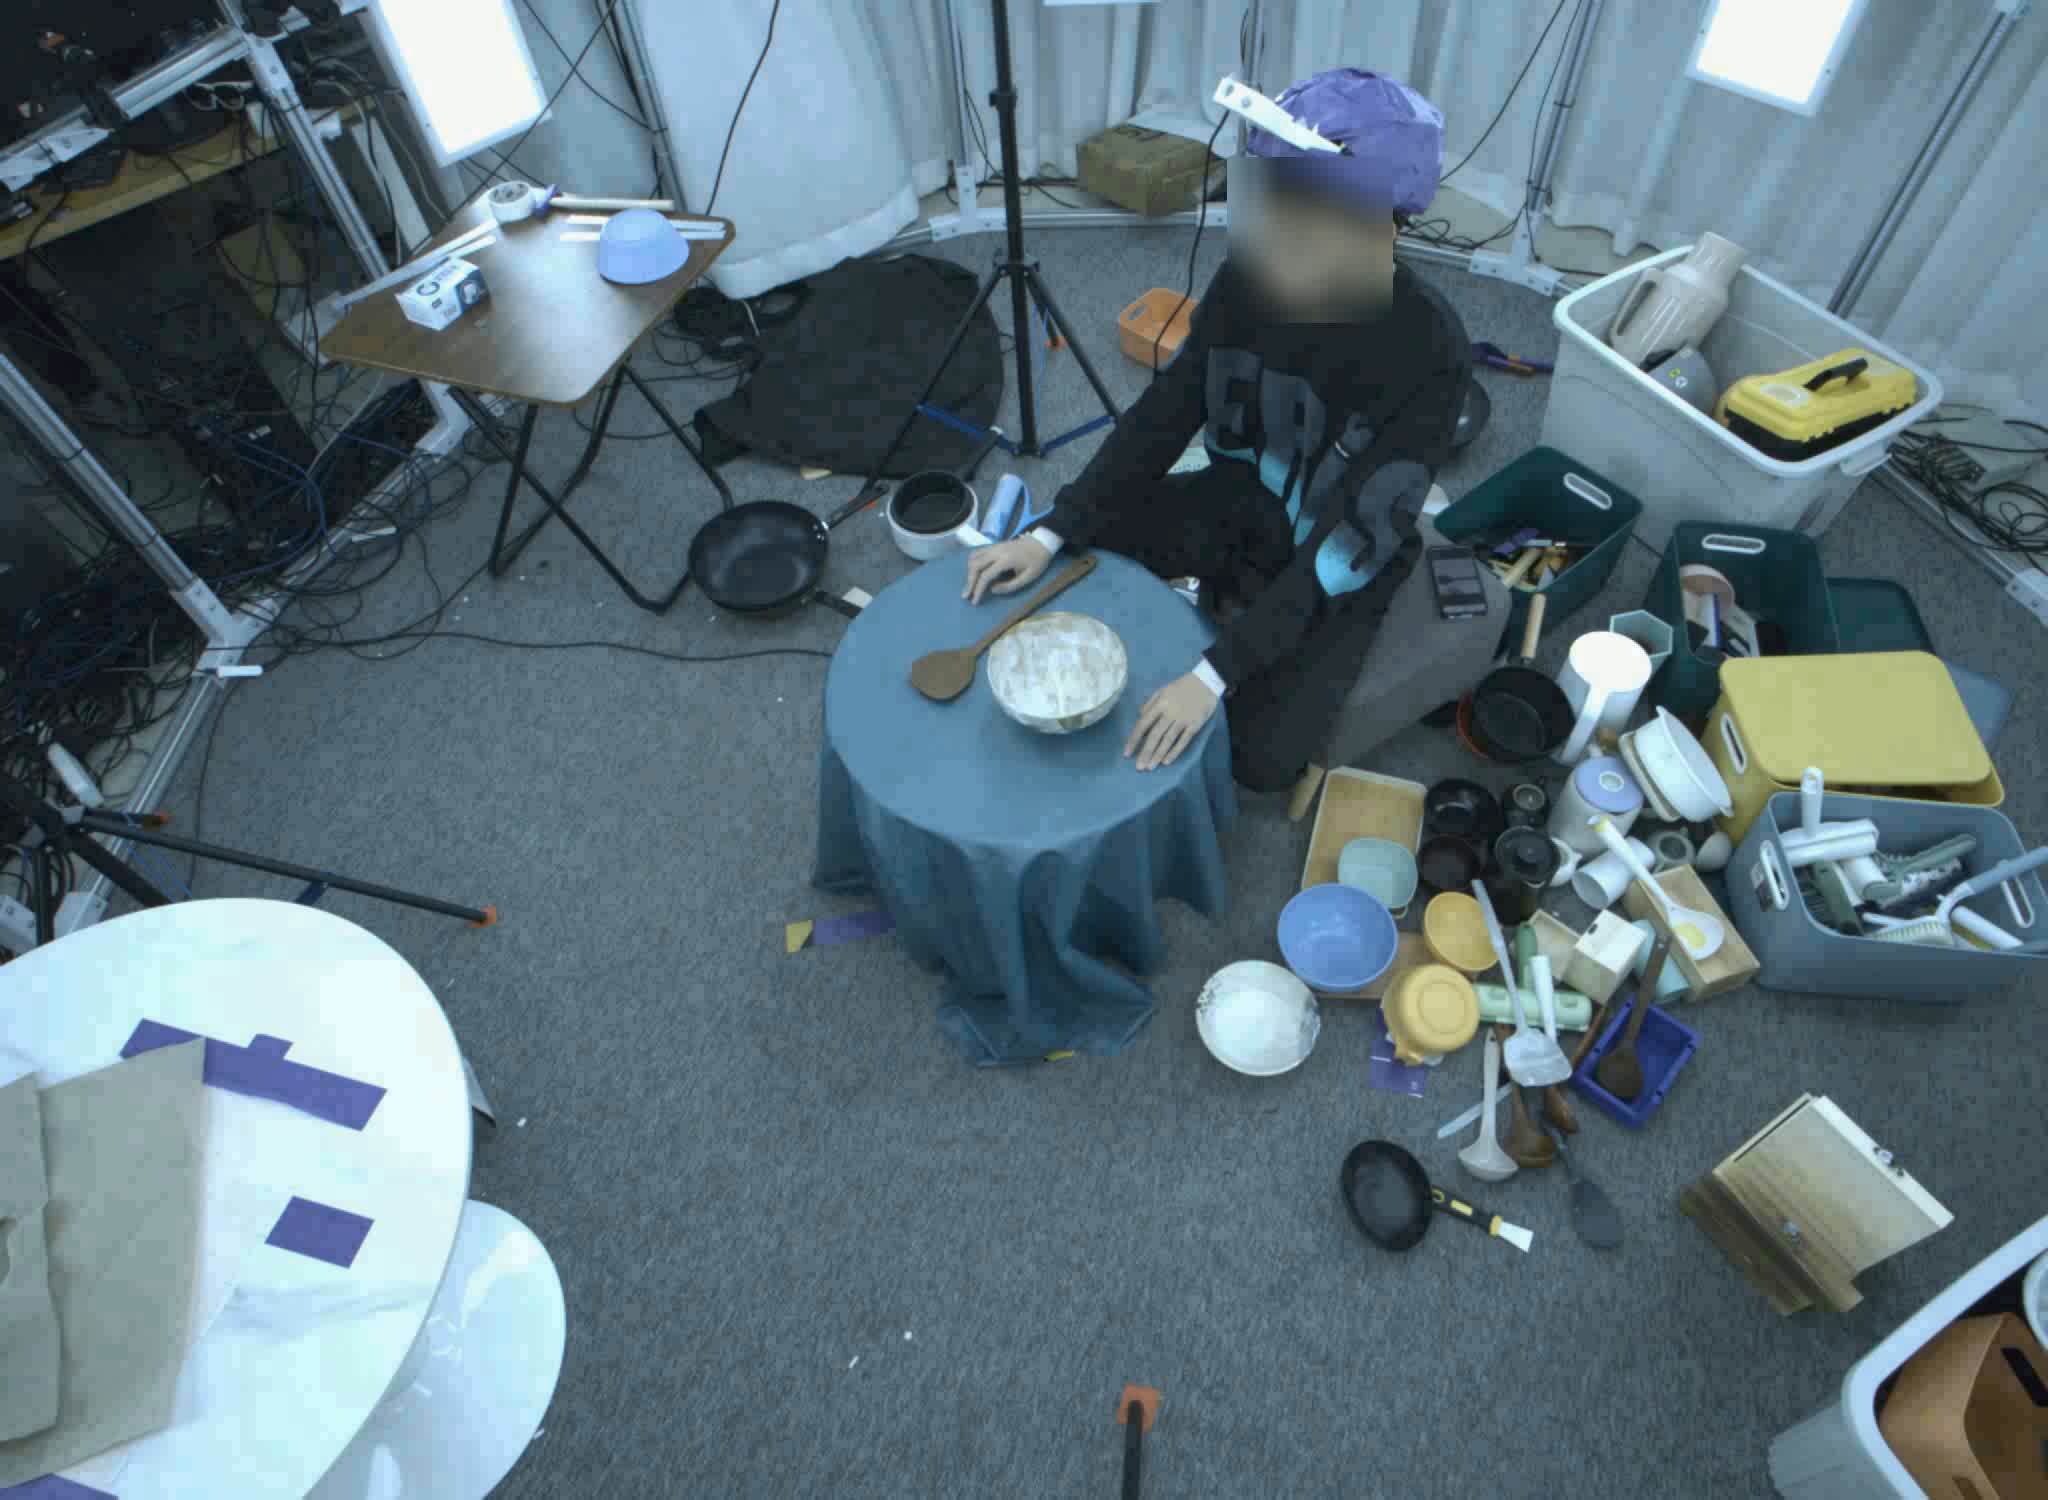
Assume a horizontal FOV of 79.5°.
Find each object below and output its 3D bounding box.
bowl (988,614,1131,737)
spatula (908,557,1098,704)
[{"bbox_3d":[0.056,-0.093,1.804,0.214,0.095,0.212,-1,53,2],"label":"bowl"},{"bbox_3d":[-0.020,-0.199,1.930,0.094,0.016,0.388,38,64,24],"label":"spatula"}]
